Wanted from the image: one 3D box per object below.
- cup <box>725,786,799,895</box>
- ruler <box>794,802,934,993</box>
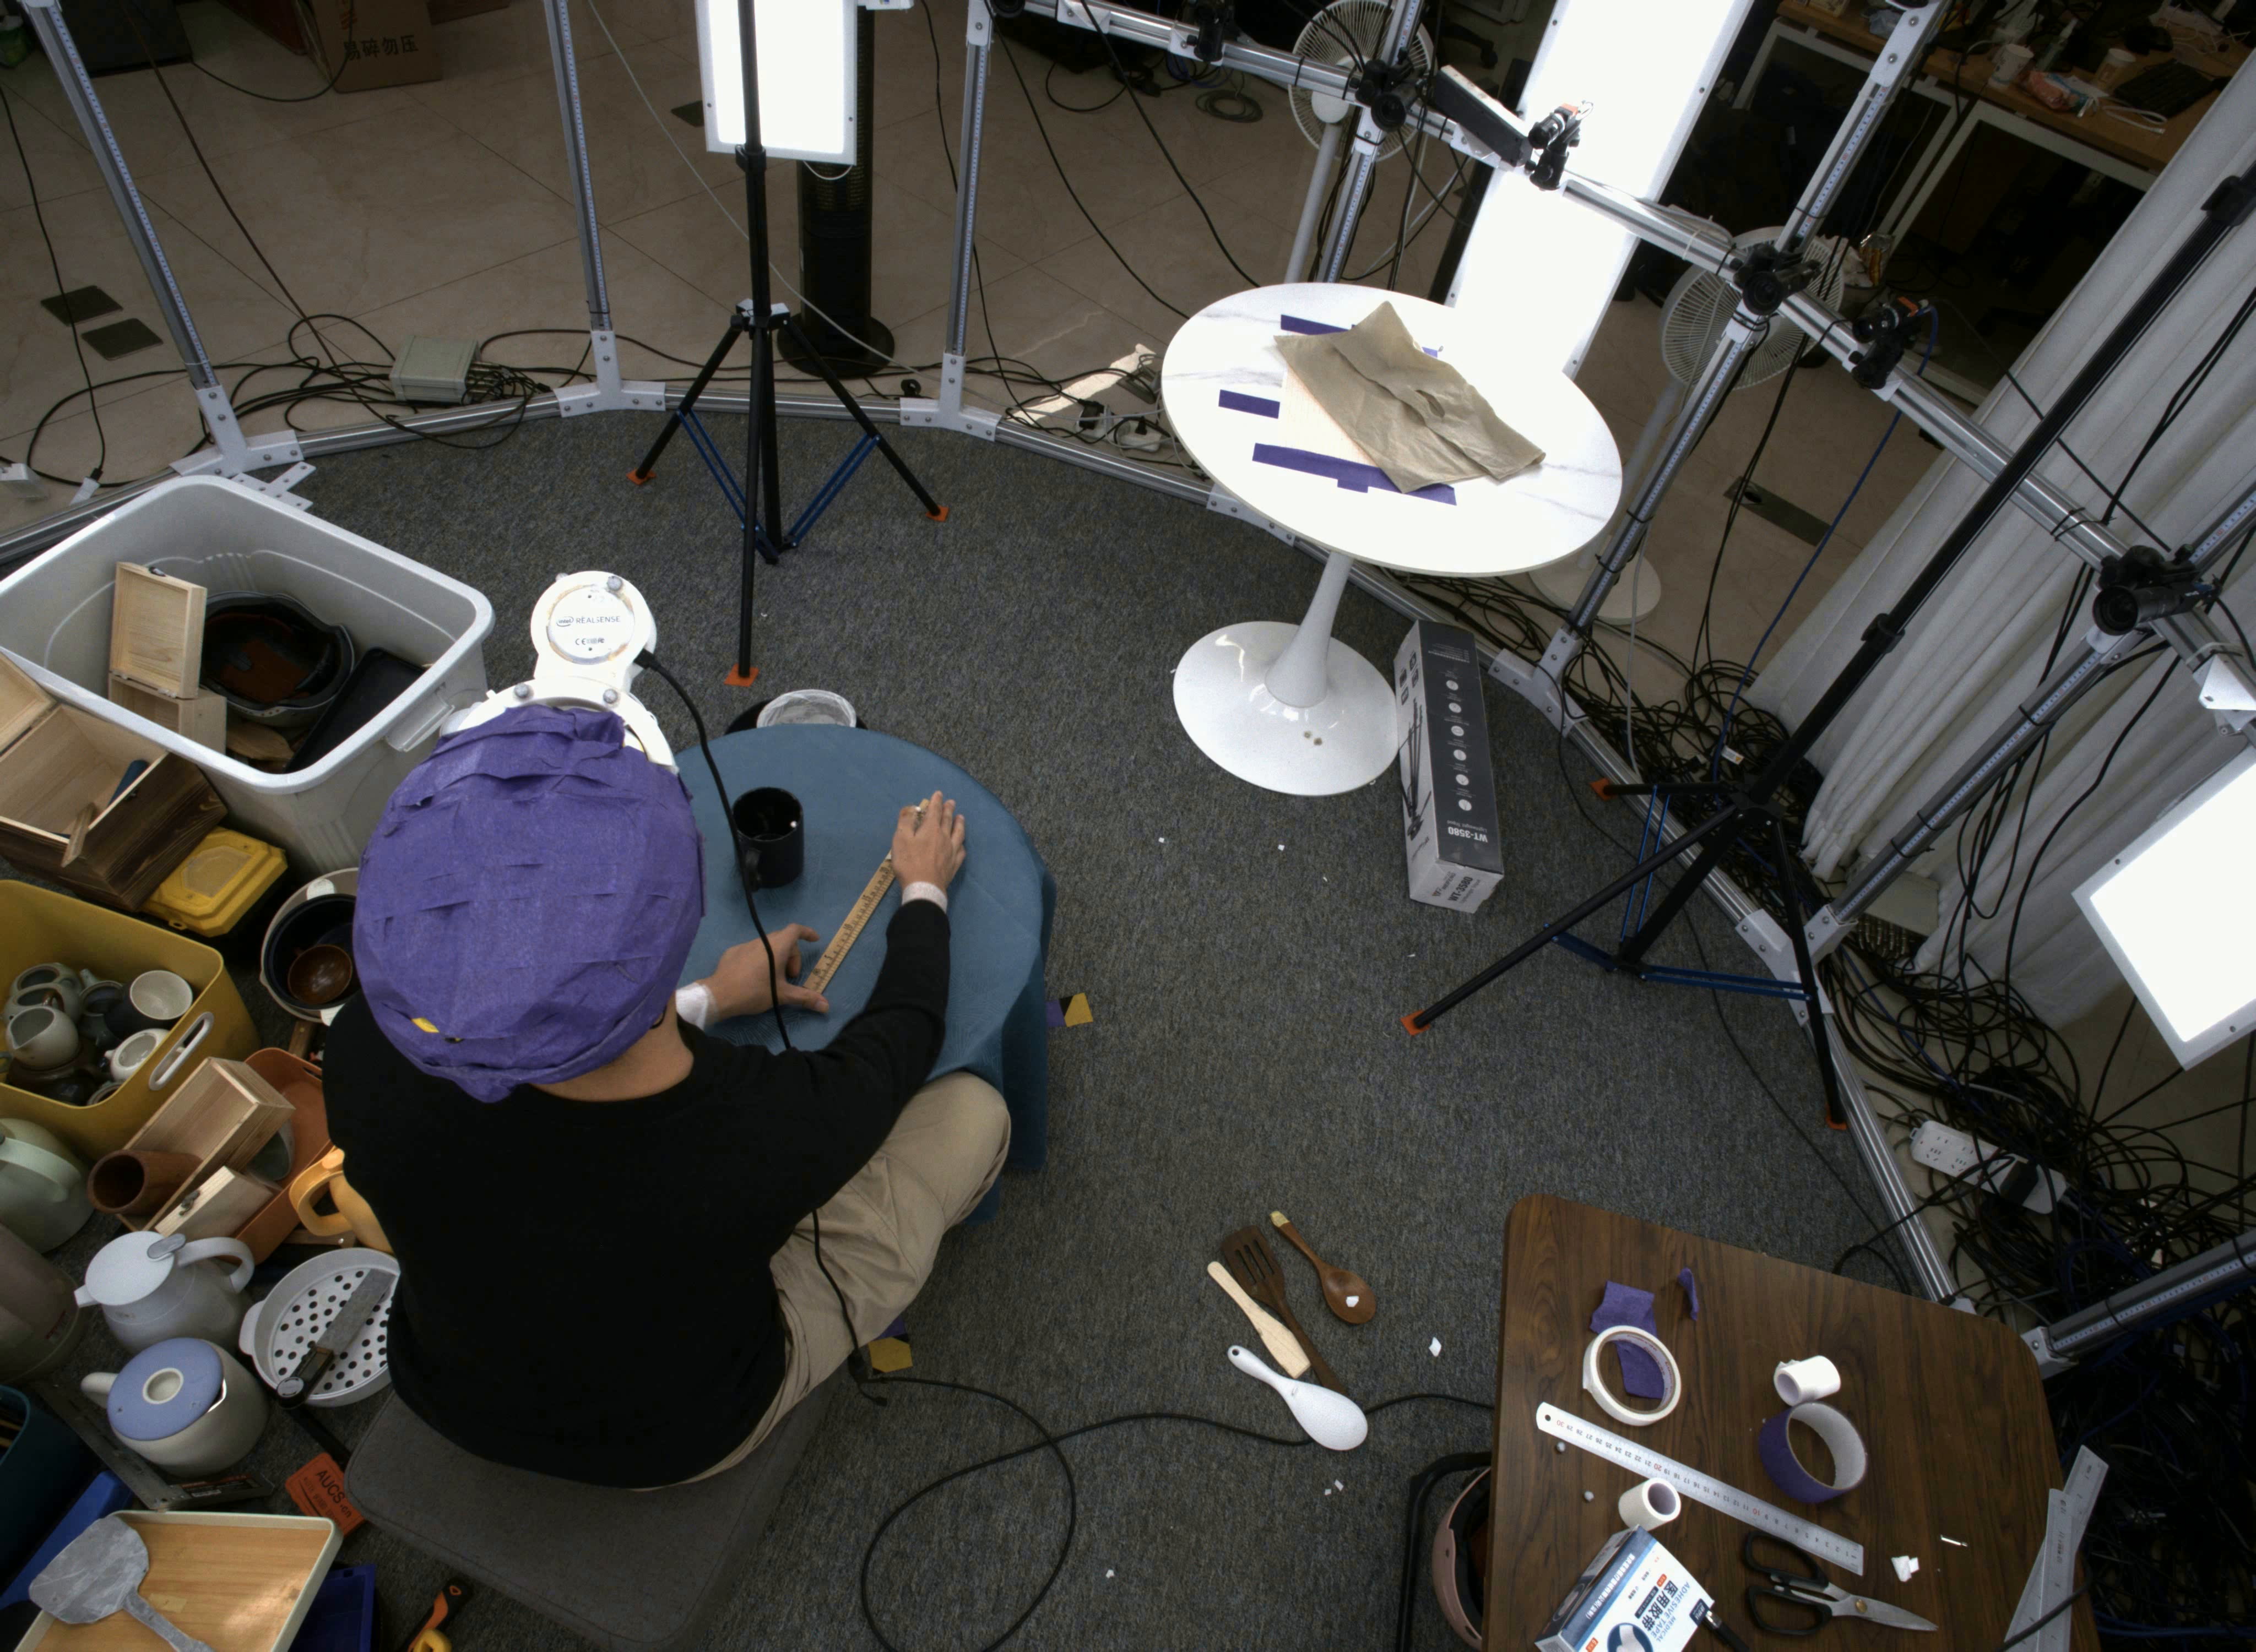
[{"bbox_3d":[-0.464,0.028,1.622,0.088,0.107,0.122,15,52,-3],"label":"cup"},{"bbox_3d":[-0.335,0.081,1.674,0.027,0.023,0.329,21,50,9],"label":"ruler"}]
